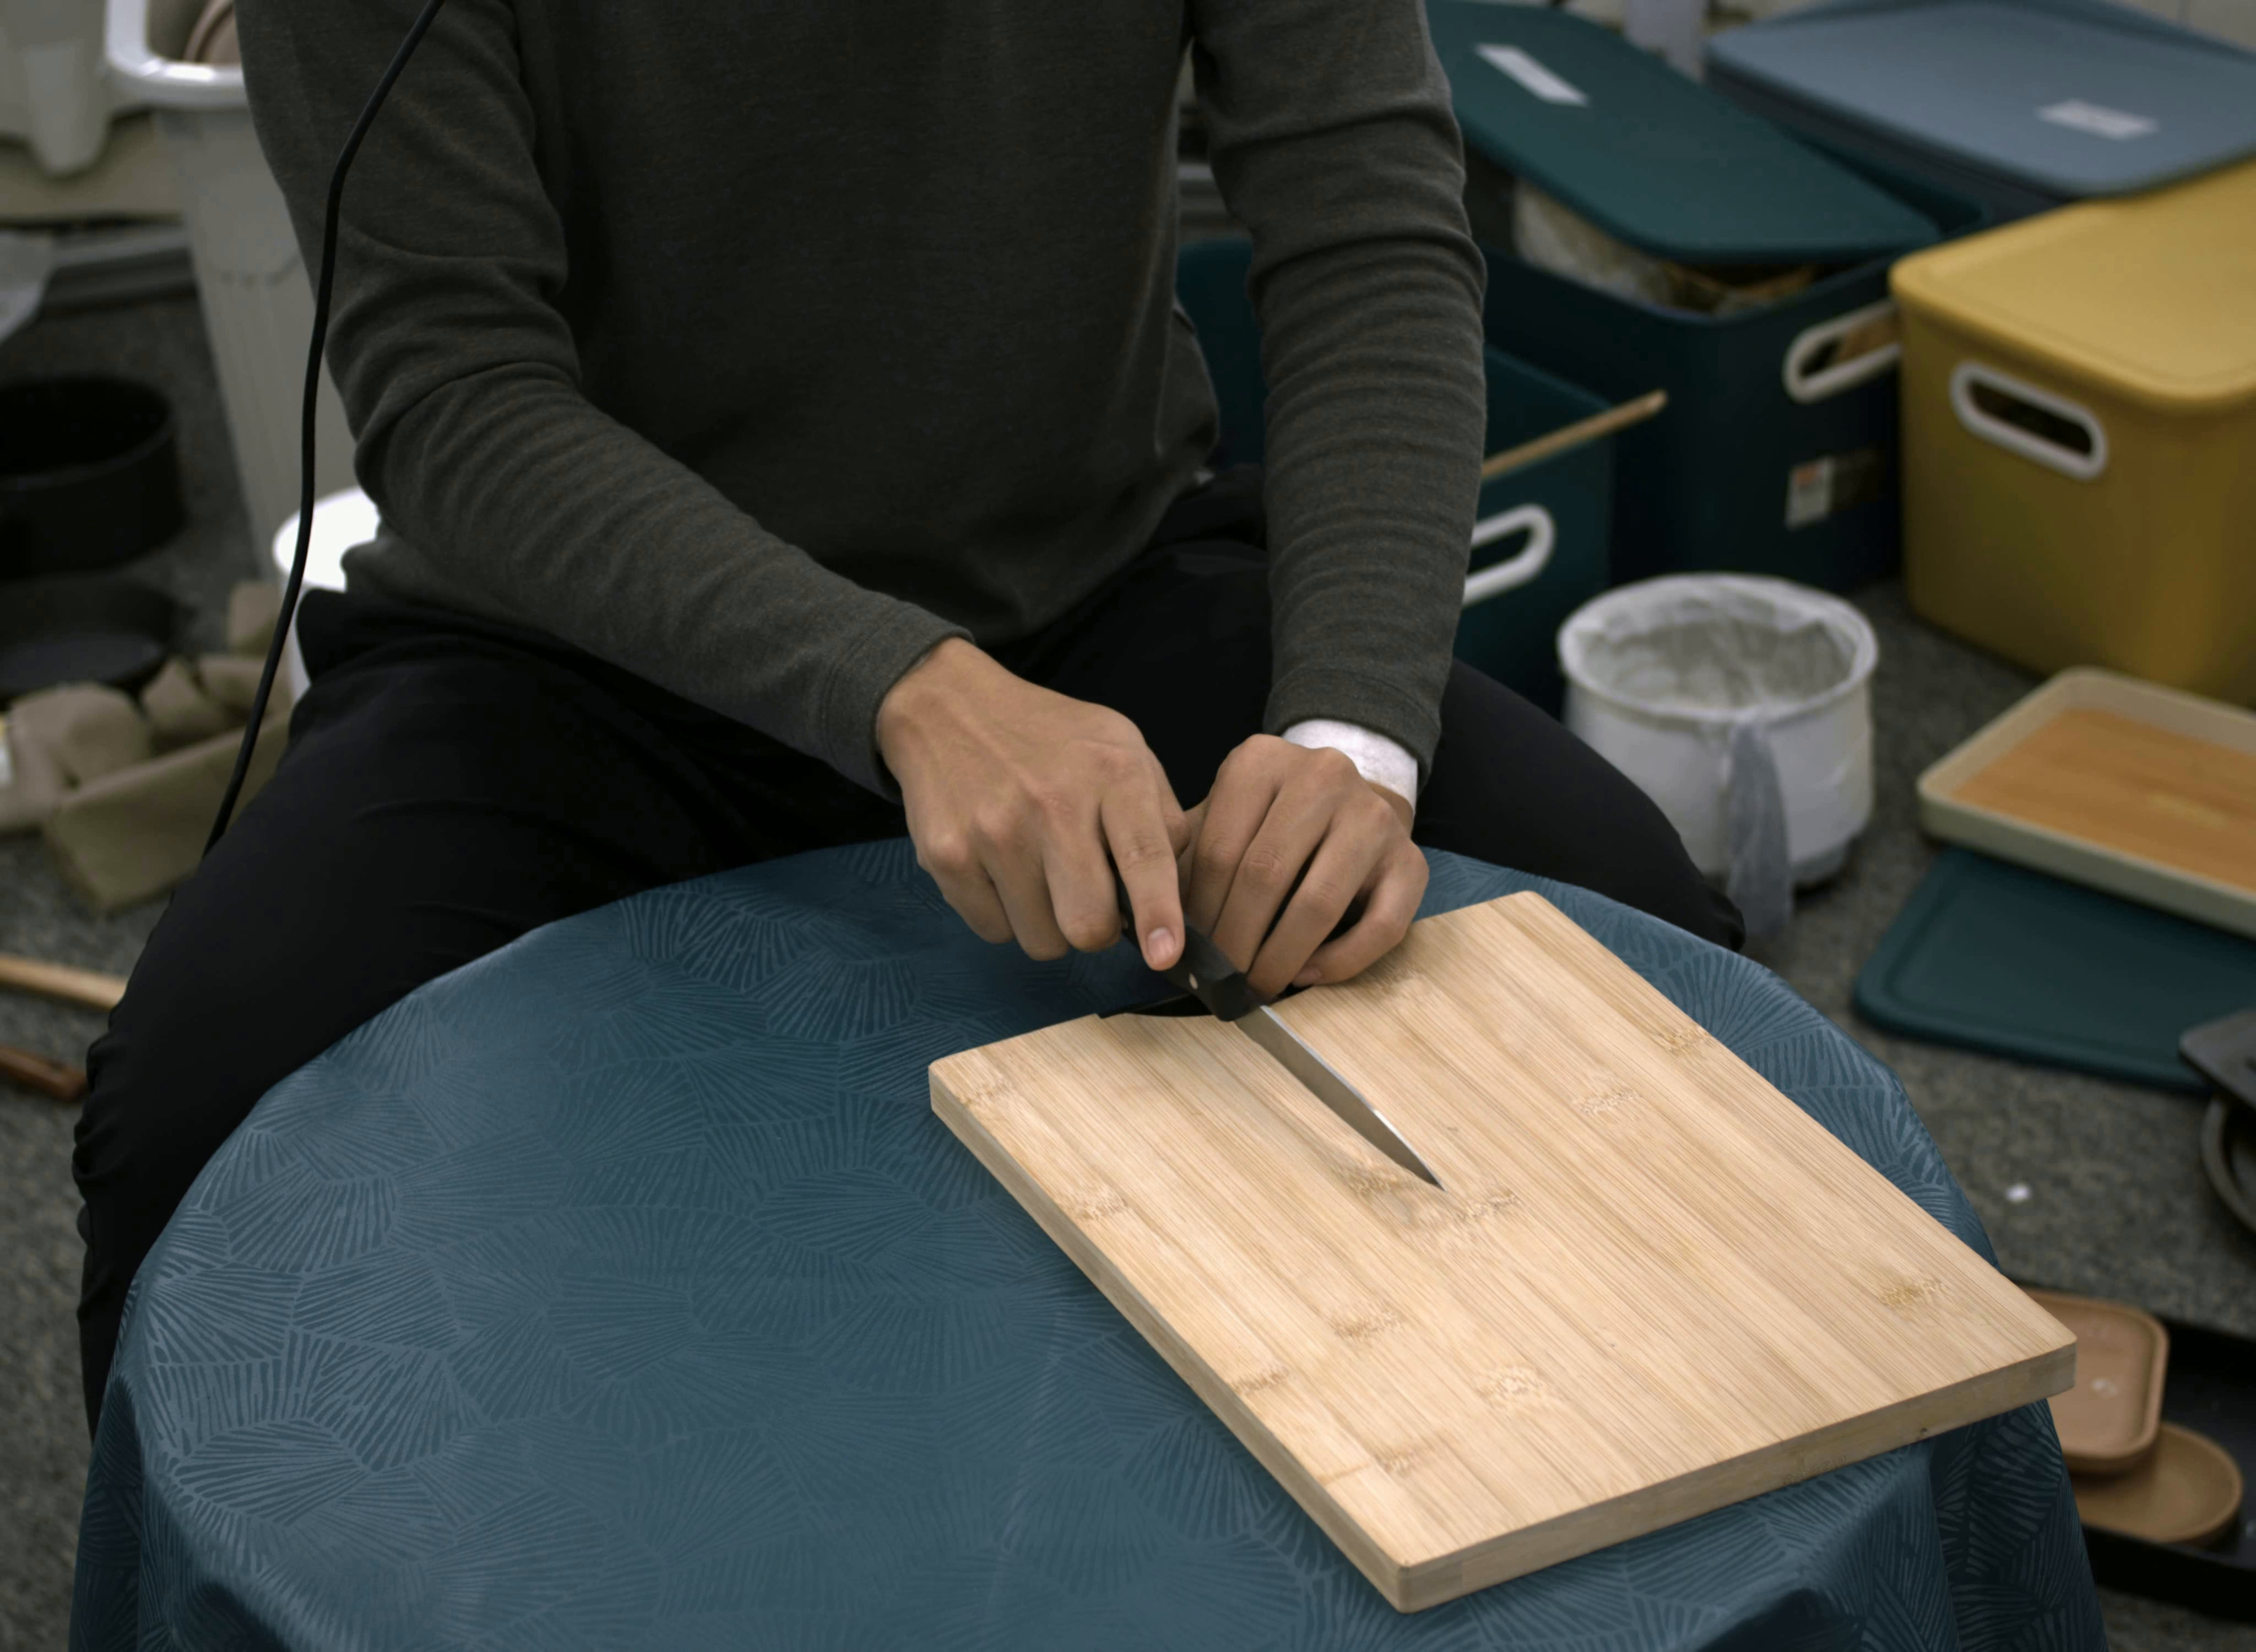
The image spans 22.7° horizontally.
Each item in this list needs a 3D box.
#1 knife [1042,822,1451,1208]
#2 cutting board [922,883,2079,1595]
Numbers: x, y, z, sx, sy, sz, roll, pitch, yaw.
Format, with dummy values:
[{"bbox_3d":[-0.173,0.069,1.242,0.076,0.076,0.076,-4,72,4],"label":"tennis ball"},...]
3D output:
[{"bbox_3d":[0.038,0.061,1.881,0.016,0.024,0.239,-24,42,-23],"label":"knife"},{"bbox_3d":[0.111,0.125,1.827,0.252,0.023,0.350,-15,30,-23],"label":"cutting board"}]
